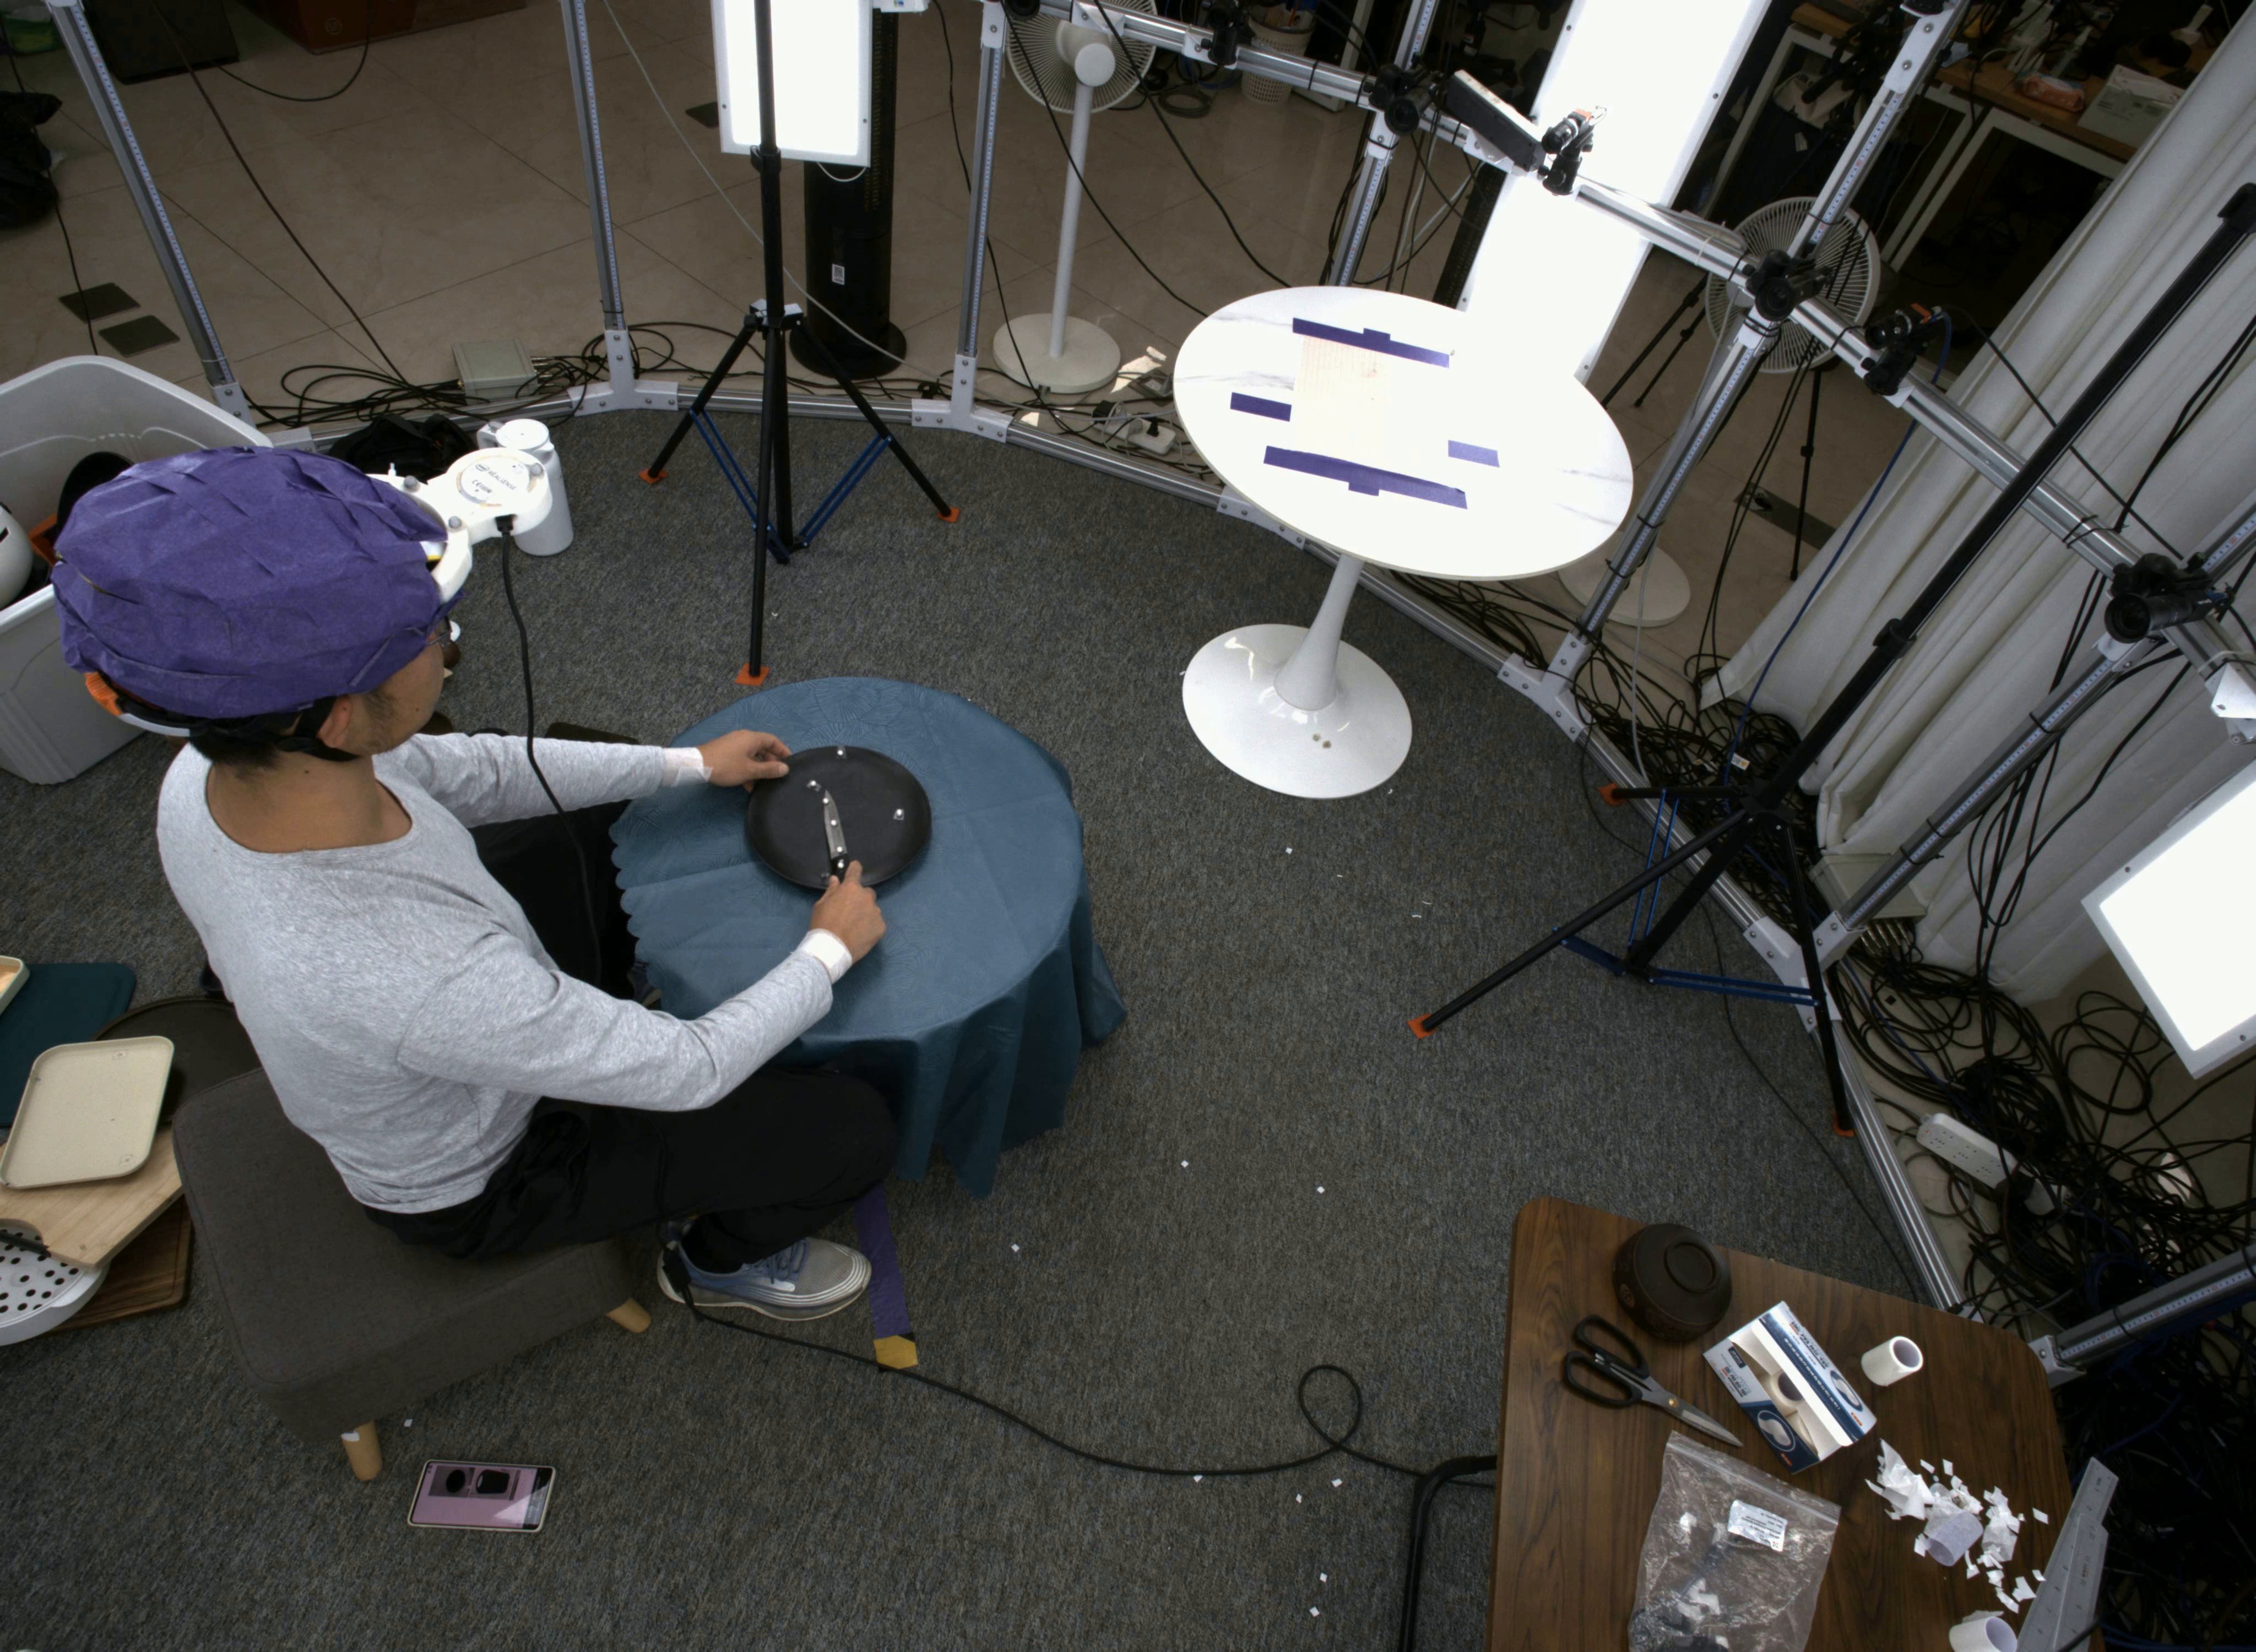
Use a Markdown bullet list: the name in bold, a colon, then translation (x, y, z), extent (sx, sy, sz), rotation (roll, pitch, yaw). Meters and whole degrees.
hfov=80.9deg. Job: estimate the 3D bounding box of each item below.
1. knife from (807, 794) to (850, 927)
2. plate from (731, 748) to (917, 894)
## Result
- **knife**: translation (-0.391, 0.037, 1.684), extent (0.024, 0.017, 0.231), rotation (-21, 52, -5)
- **plate**: translation (-0.404, -0.006, 1.730), extent (0.244, 0.024, 0.240), rotation (8, 52, -9)
